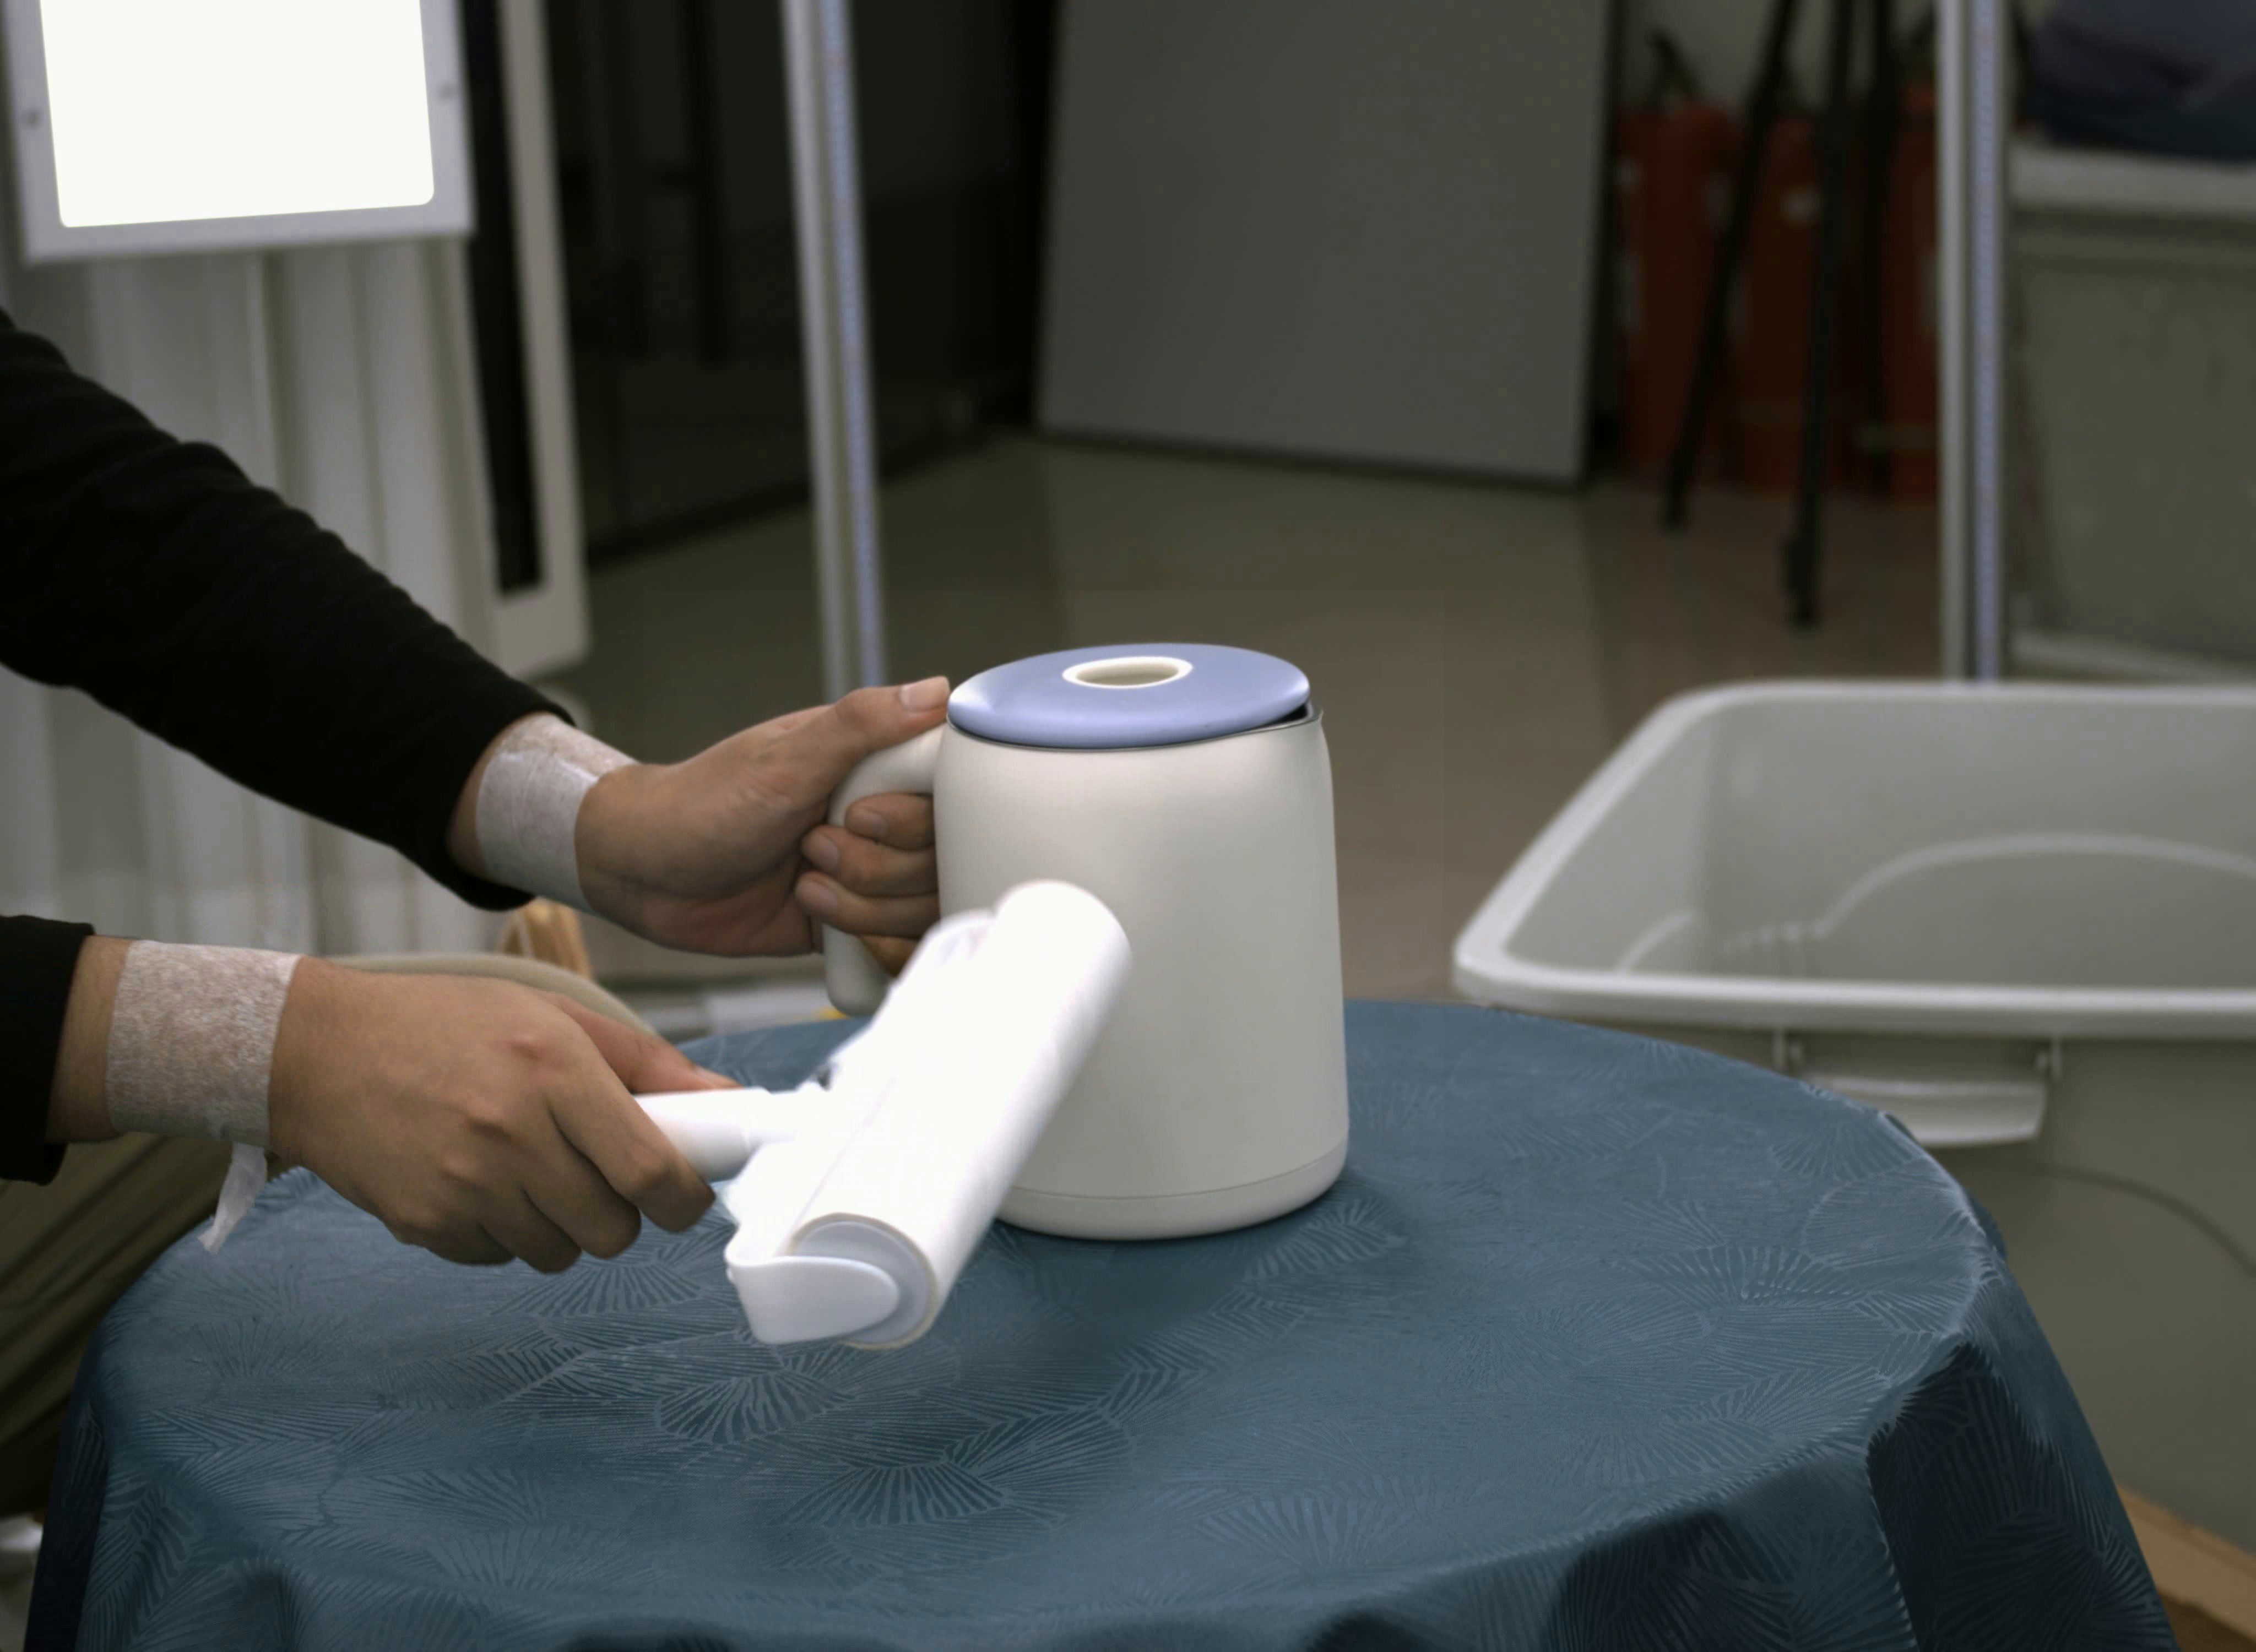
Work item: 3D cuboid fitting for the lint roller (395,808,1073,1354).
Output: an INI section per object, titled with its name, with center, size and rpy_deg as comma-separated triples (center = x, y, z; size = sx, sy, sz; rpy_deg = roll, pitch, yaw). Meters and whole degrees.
[lint roller]
center = -0.132, 0.092, 1.606
size = 0.226, 0.048, 0.203
rpy_deg = -18, 31, 28

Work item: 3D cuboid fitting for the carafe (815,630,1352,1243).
[carafe]
center = -0.018, 0.035, 1.765
size = 0.191, 0.184, 0.130
rpy_deg = 1, 13, 27
